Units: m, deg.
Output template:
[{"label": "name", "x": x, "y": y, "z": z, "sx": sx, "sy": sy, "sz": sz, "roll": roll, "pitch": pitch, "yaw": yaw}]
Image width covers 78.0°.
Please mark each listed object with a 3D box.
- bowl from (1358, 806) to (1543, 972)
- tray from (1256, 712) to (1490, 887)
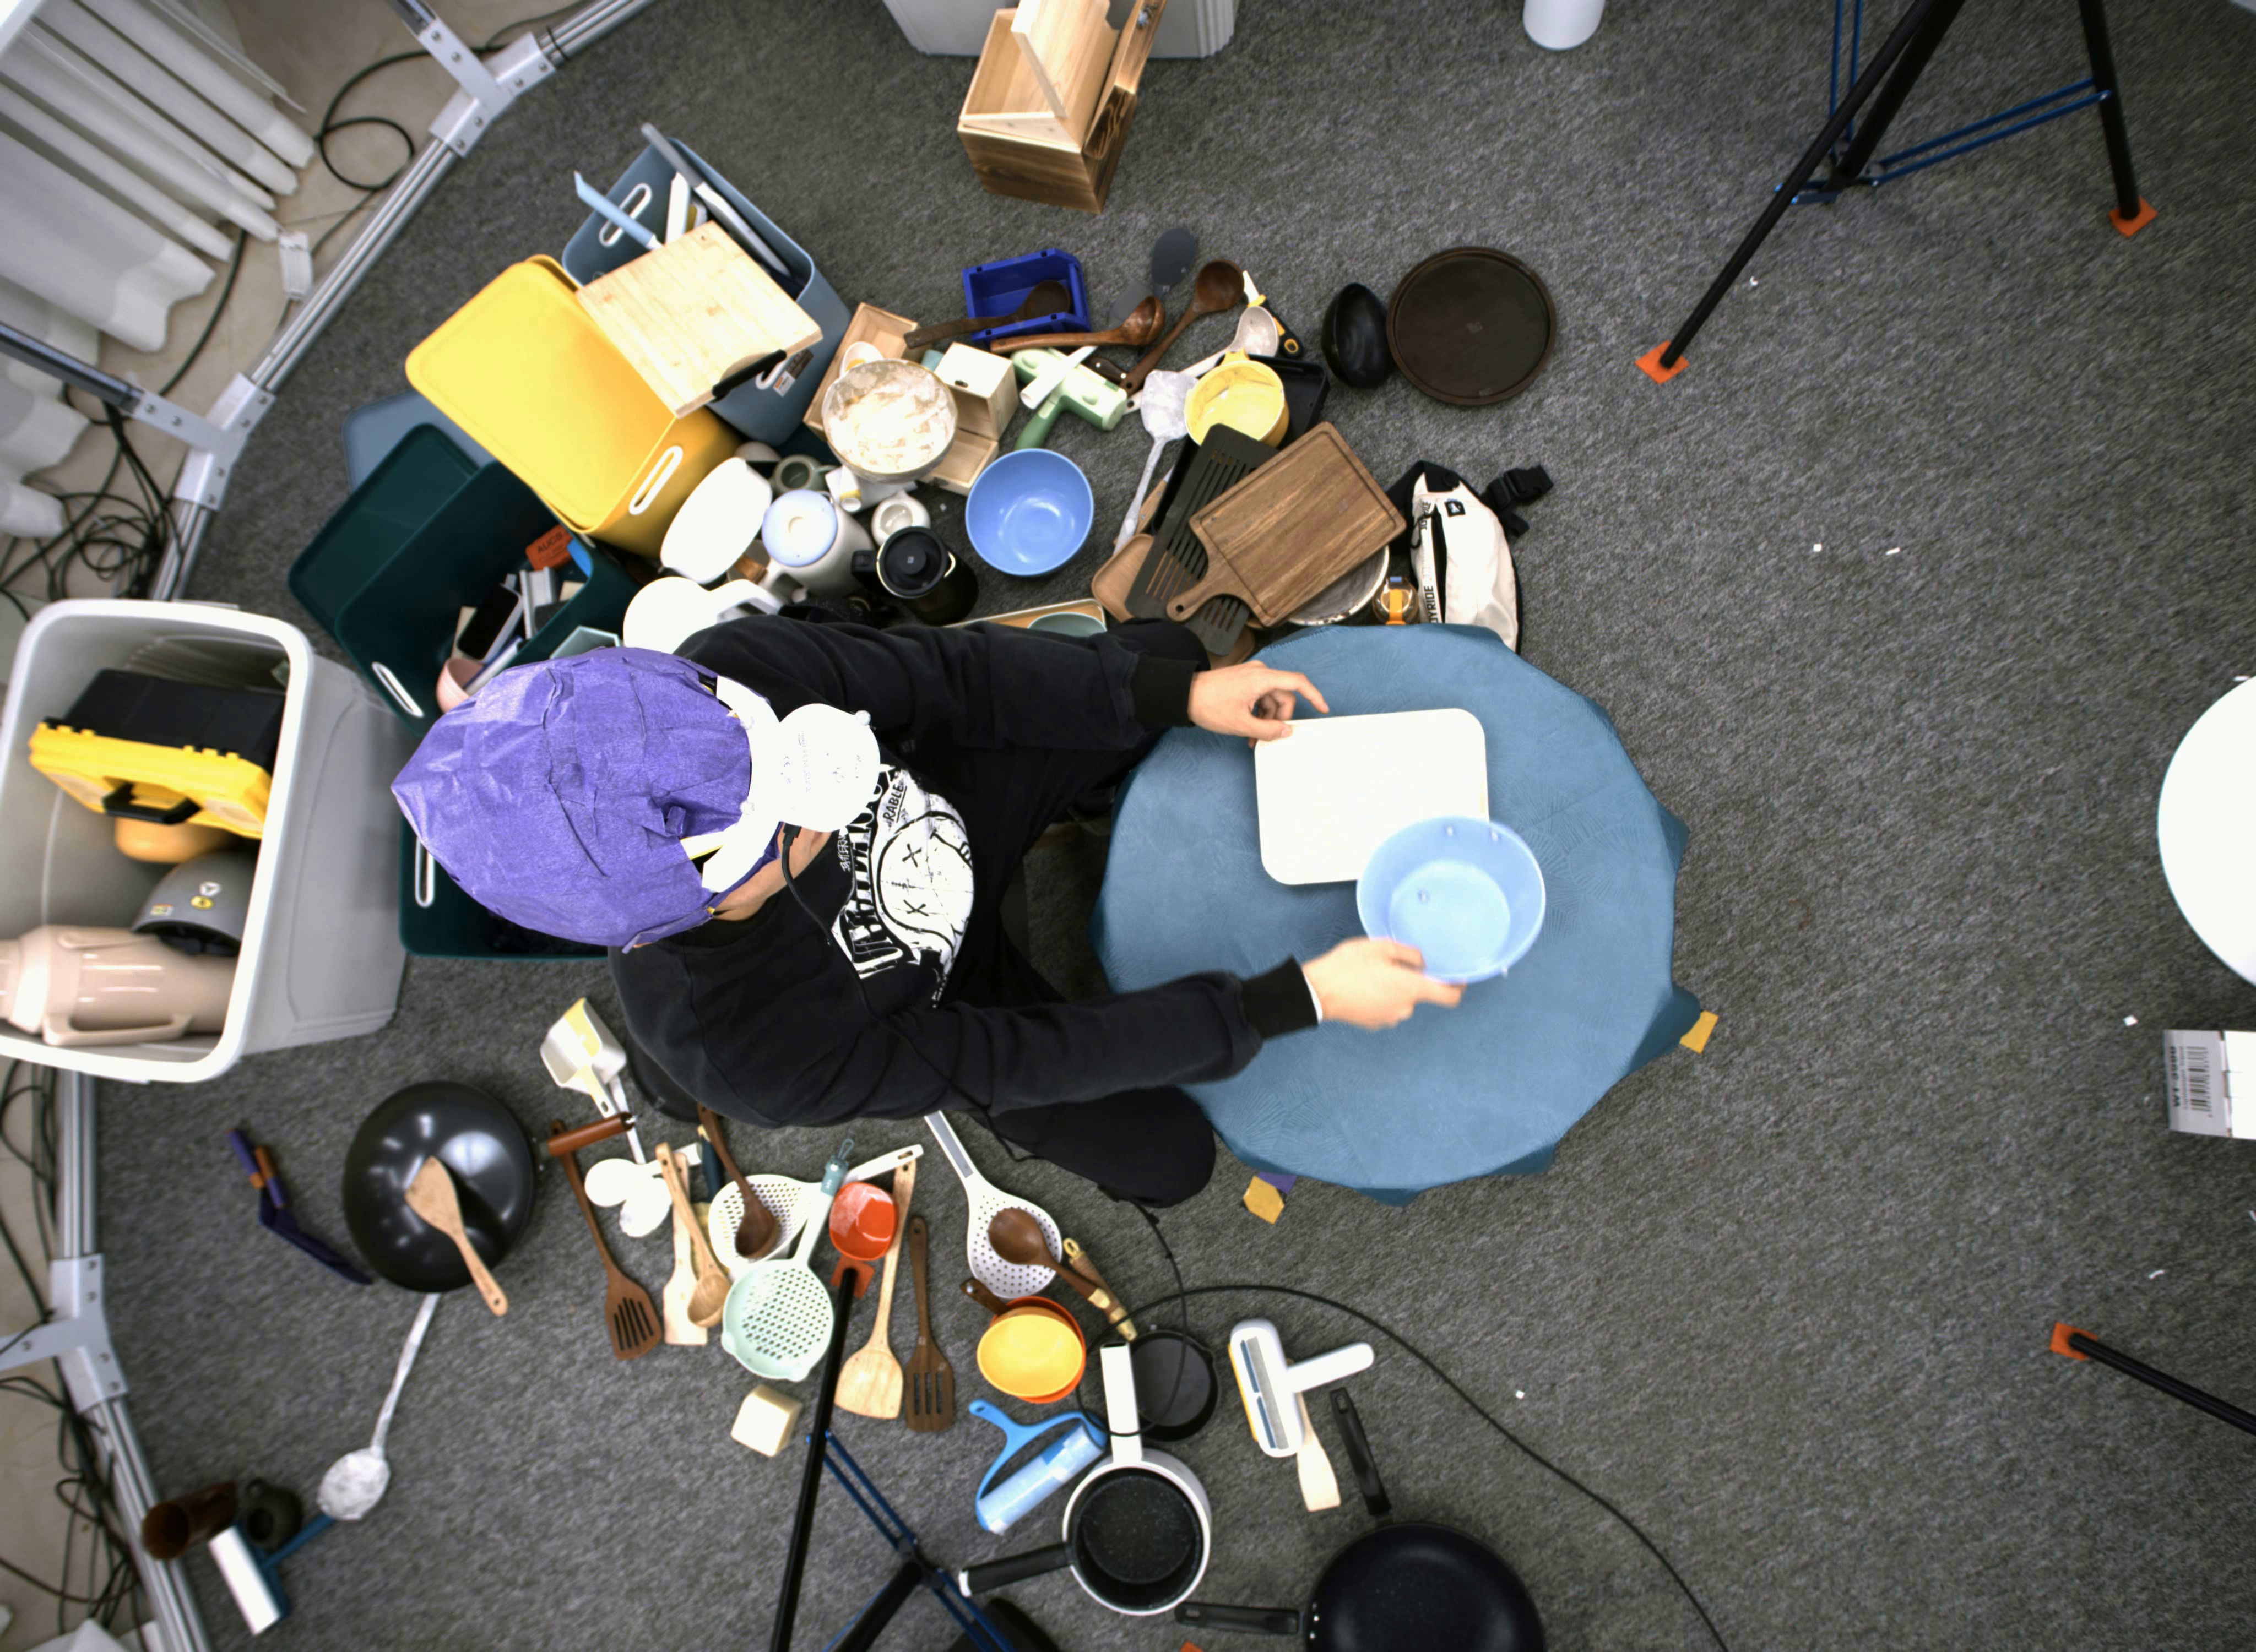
[{"label": "bowl", "x": 0.313, "y": 0.070, "z": 1.347, "sx": 0.177, "sy": 0.071, "sz": 0.172, "roll": -5, "pitch": 64, "yaw": 10}, {"label": "tray", "x": 0.256, "y": -0.029, "z": 1.437, "sx": 0.240, "sy": 0.017, "sz": 0.172, "roll": -4, "pitch": 96, "yaw": 1}]
